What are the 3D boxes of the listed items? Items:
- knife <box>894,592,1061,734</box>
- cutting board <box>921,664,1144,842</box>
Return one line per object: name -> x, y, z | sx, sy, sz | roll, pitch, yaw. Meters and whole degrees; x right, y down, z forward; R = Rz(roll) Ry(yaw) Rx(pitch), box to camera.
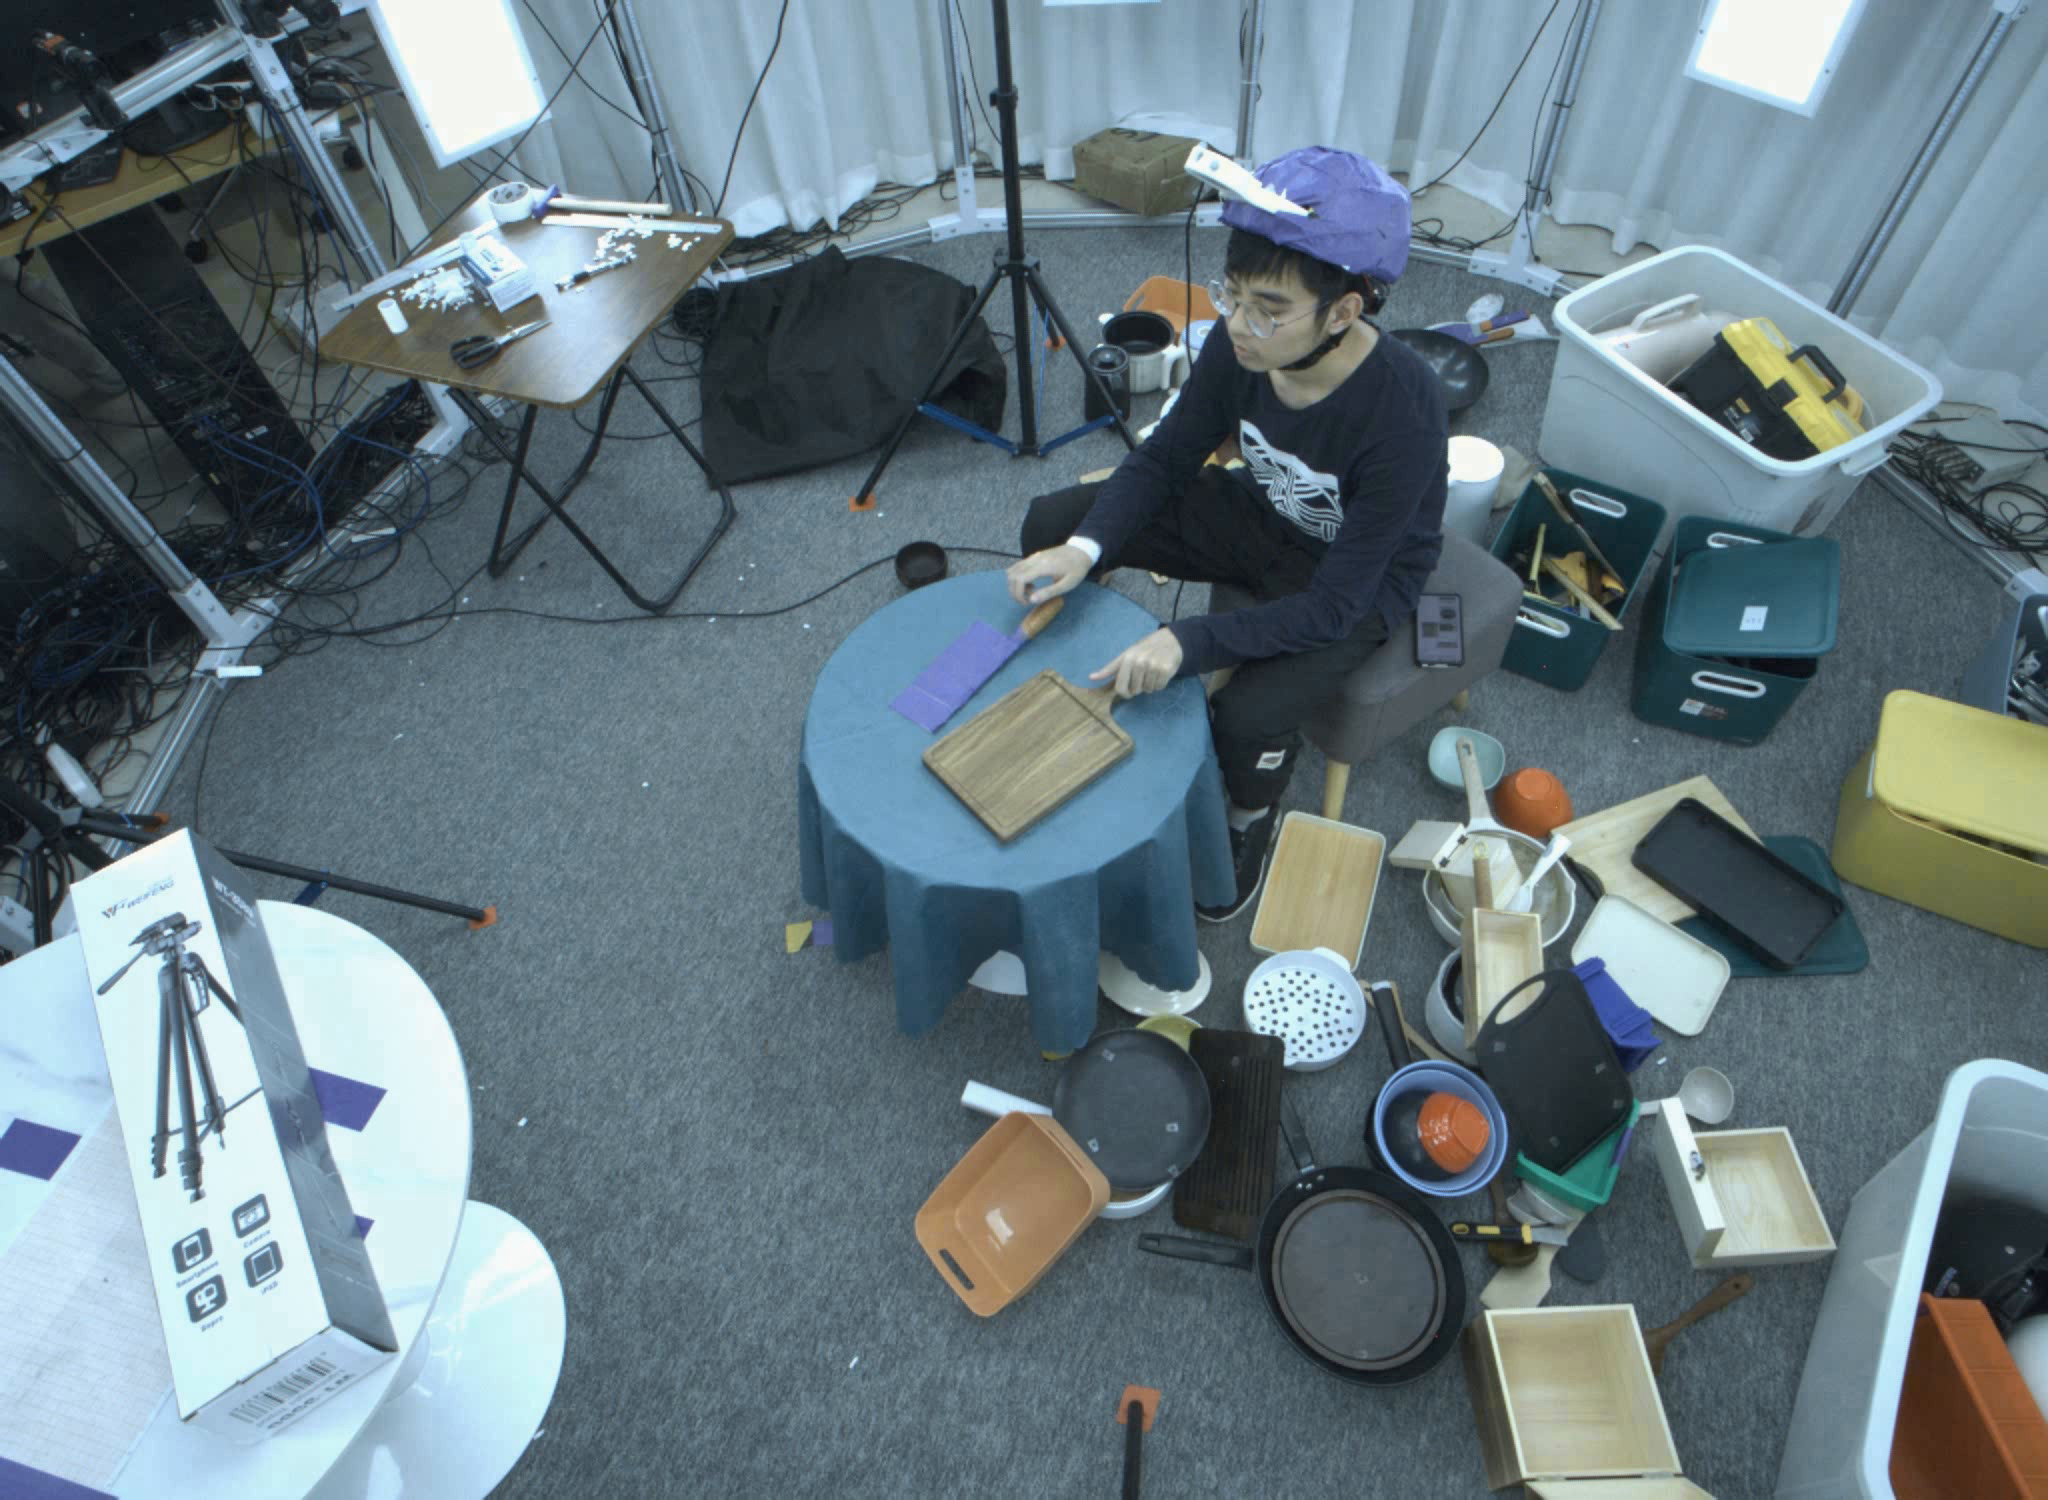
knife -> -0.072, -0.151, 1.888 | 0.102, 0.032, 0.317 | 32, 62, 22
cutting board -> 0.043, -0.025, 1.799 | 0.355, 0.023, 0.197 | -35, 61, -22
